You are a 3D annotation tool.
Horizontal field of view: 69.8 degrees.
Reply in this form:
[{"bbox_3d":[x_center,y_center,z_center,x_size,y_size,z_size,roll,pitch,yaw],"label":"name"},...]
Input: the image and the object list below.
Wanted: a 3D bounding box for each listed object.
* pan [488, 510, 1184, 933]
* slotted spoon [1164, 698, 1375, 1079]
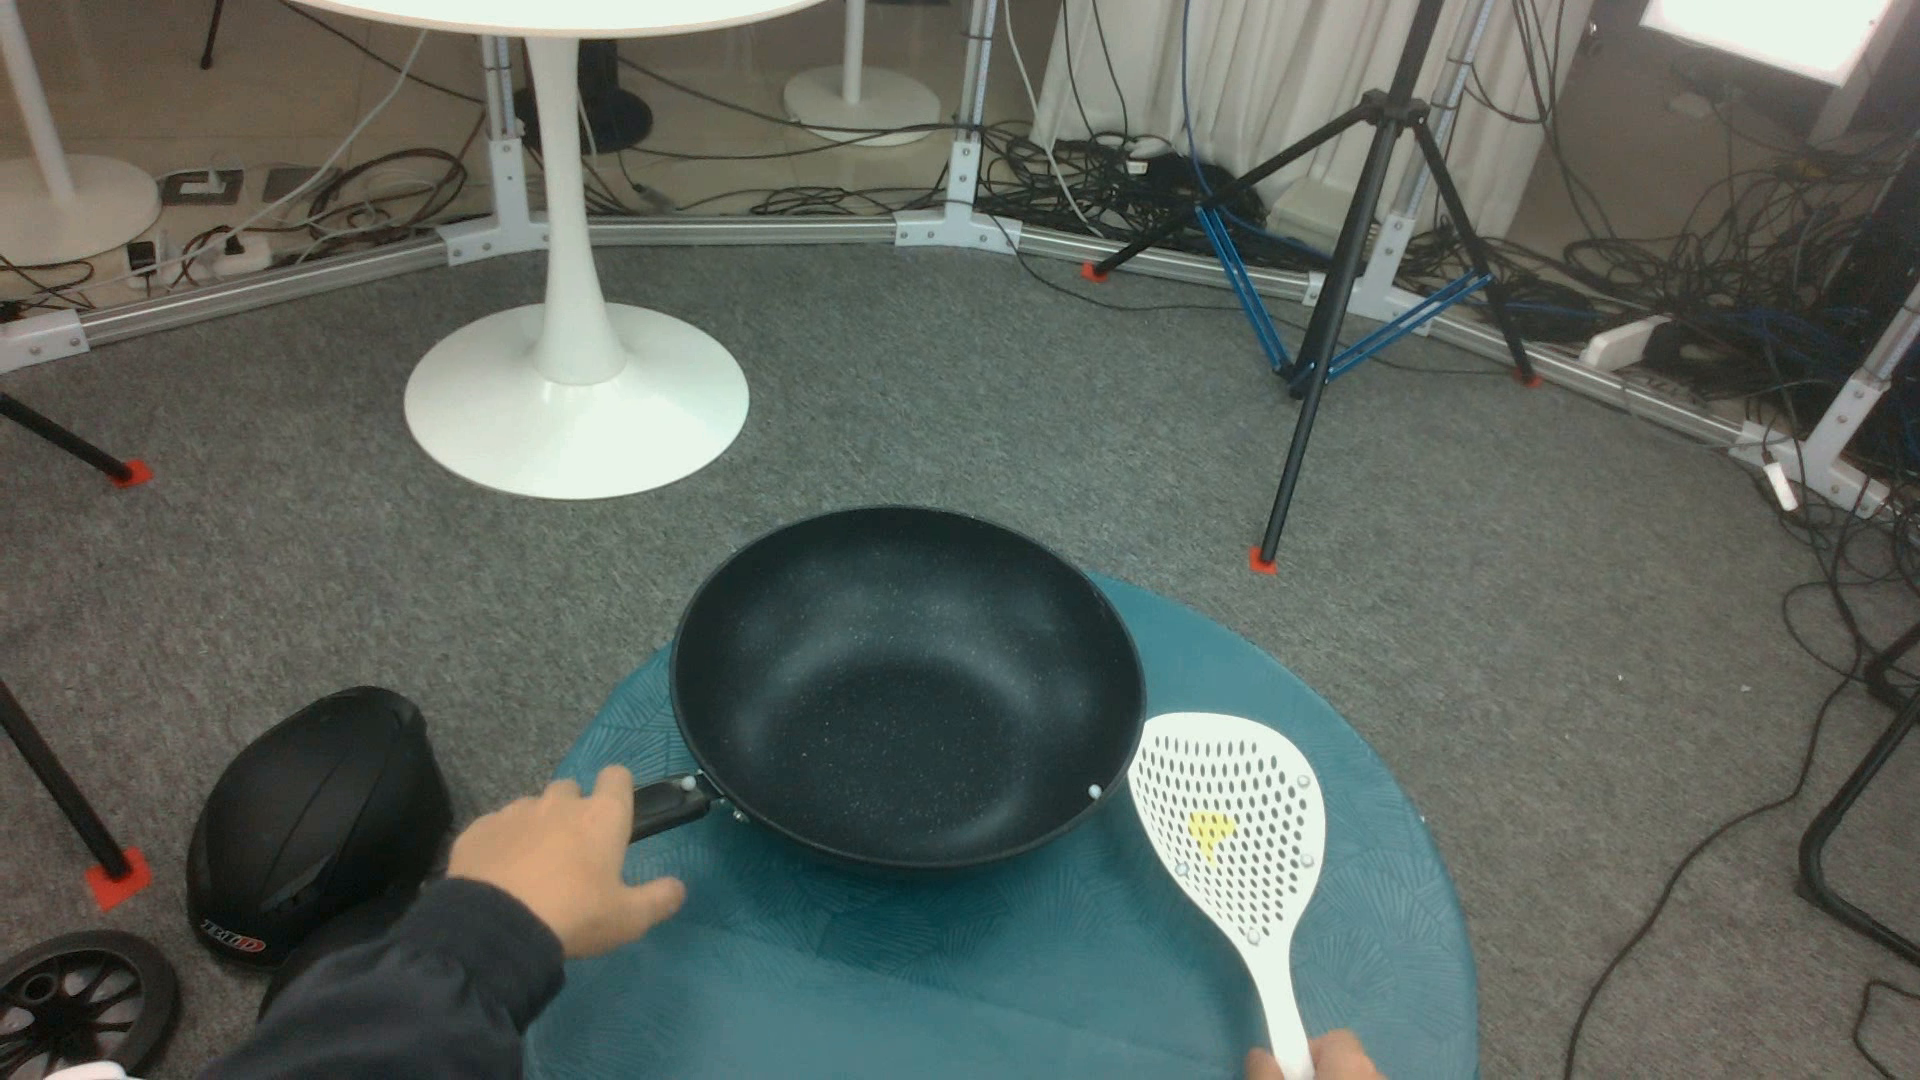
[{"bbox_3d":[-0.070,0.137,0.882,0.479,0.111,0.310,-30,51,-32],"label":"pan"},{"bbox_3d":[0.209,0.241,0.841,0.137,0.050,0.349,5,40,-11],"label":"slotted spoon"}]
